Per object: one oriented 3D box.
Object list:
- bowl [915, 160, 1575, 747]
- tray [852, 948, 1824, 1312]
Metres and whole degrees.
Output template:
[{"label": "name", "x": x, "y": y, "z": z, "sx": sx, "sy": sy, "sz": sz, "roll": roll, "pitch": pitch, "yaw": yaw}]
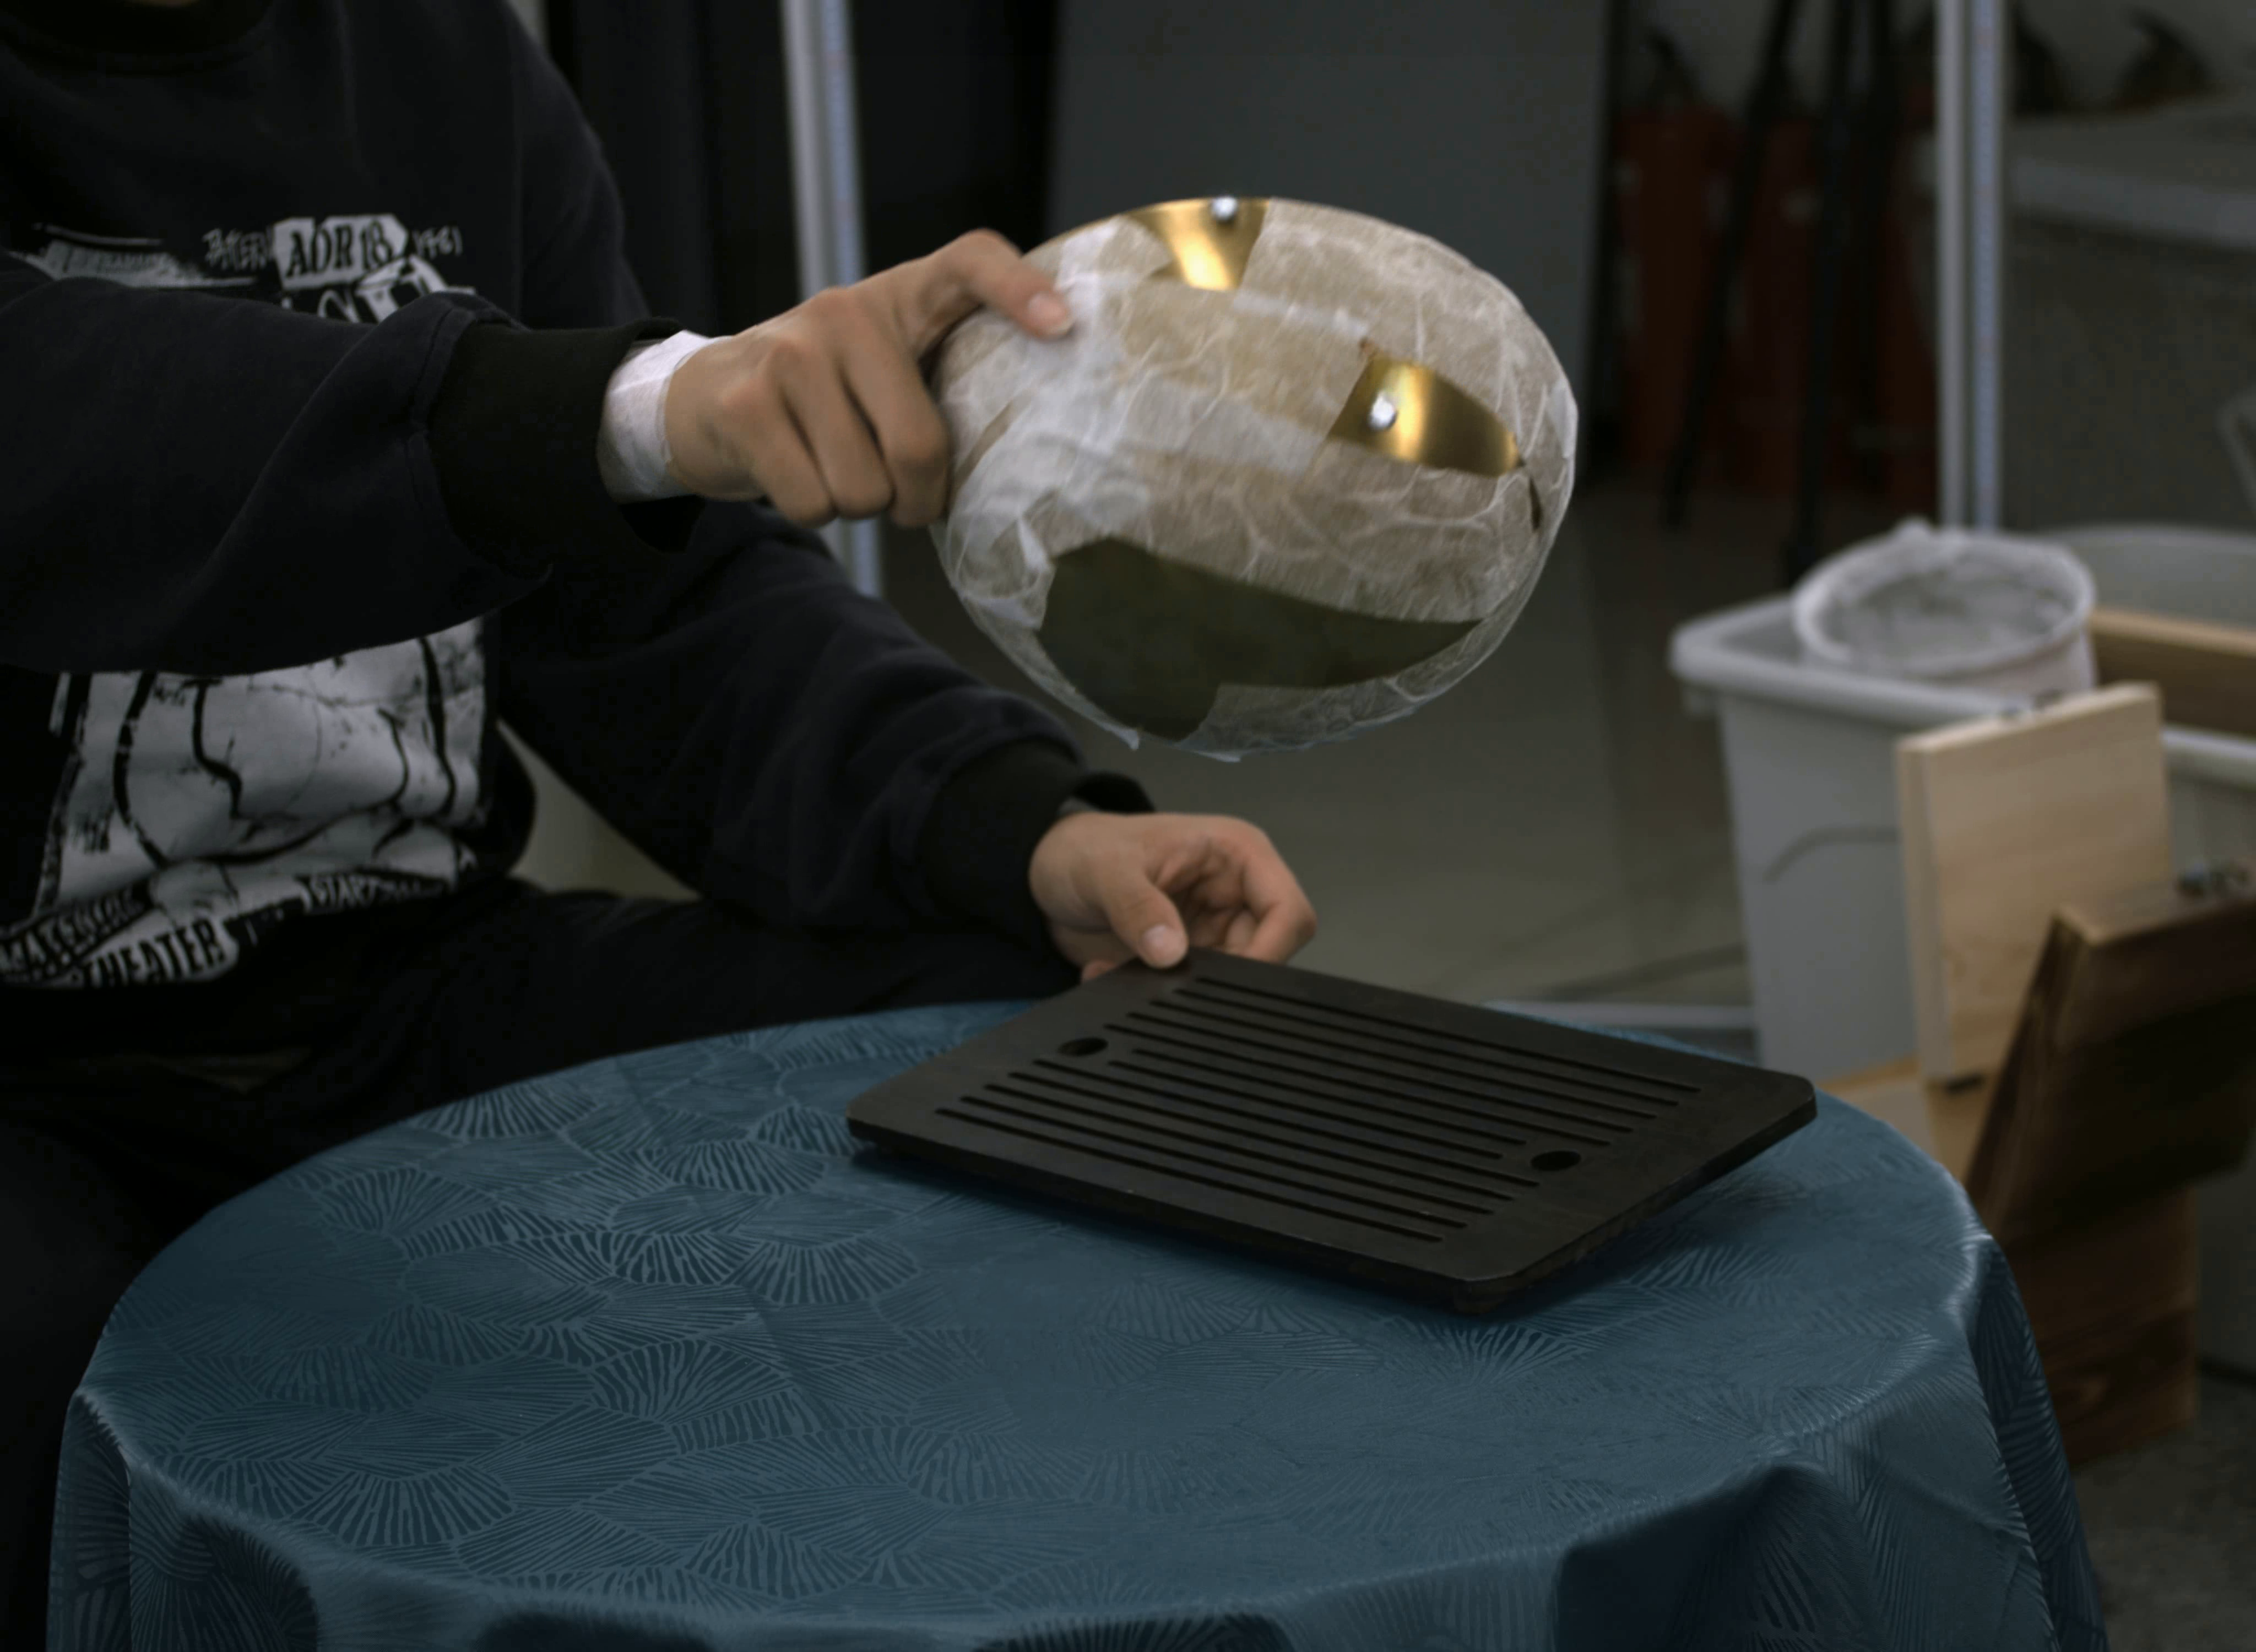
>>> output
[{"label": "bowl", "x": 0.032, "y": -0.089, "z": 1.606, "sx": 0.213, "sy": 0.215, "sz": 0.095, "roll": -1, "pitch": 48, "yaw": 7}, {"label": "tray", "x": 0.065, "y": 0.097, "z": 1.774, "sx": 0.167, "sy": 0.019, "sz": 0.309, "roll": -26, "pitch": 24, "yaw": -38}]
